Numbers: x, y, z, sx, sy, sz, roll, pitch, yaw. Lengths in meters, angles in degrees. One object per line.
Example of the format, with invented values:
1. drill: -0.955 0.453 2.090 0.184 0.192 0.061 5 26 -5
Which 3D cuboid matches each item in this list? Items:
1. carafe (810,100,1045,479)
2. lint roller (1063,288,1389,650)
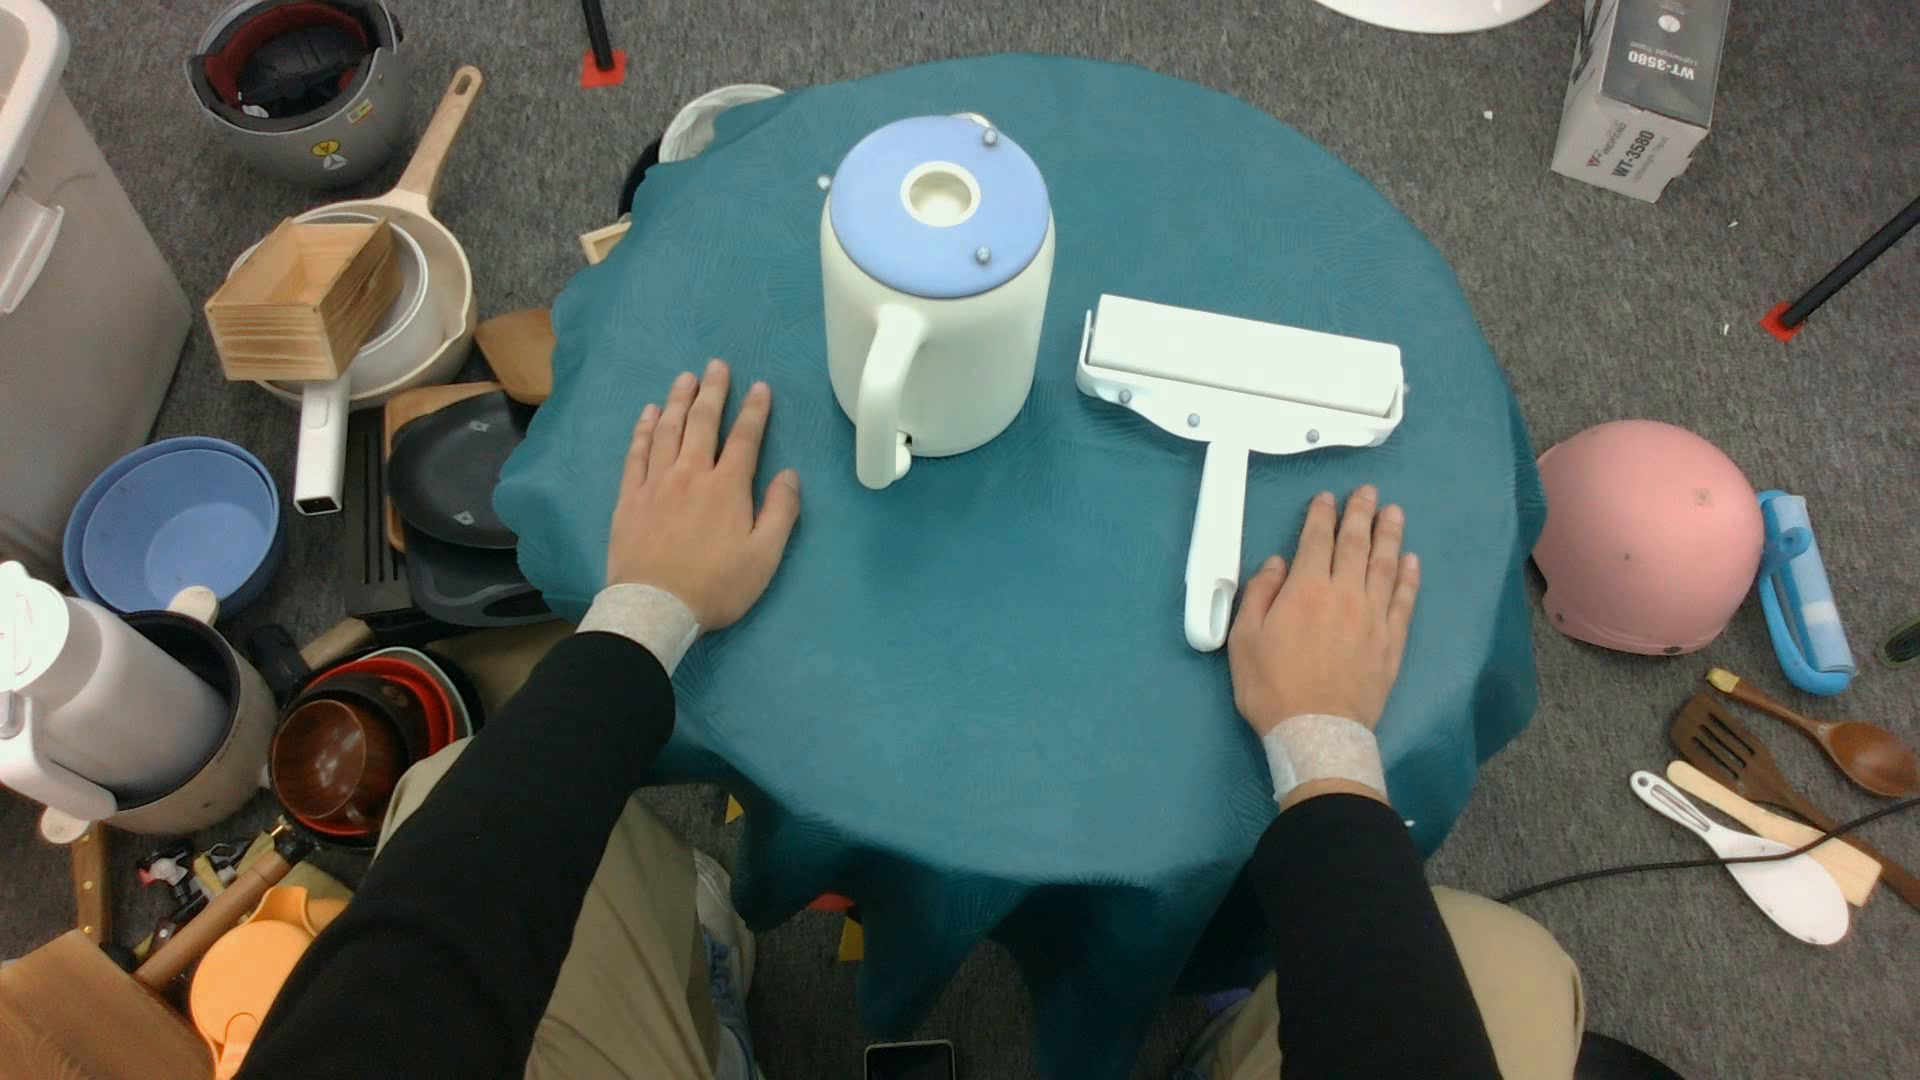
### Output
1. carafe: -0.027 -0.130 0.798 0.132 0.182 0.192 14 67 4
2. lint roller: 0.157 -0.043 0.840 0.203 0.048 0.226 10 65 0
